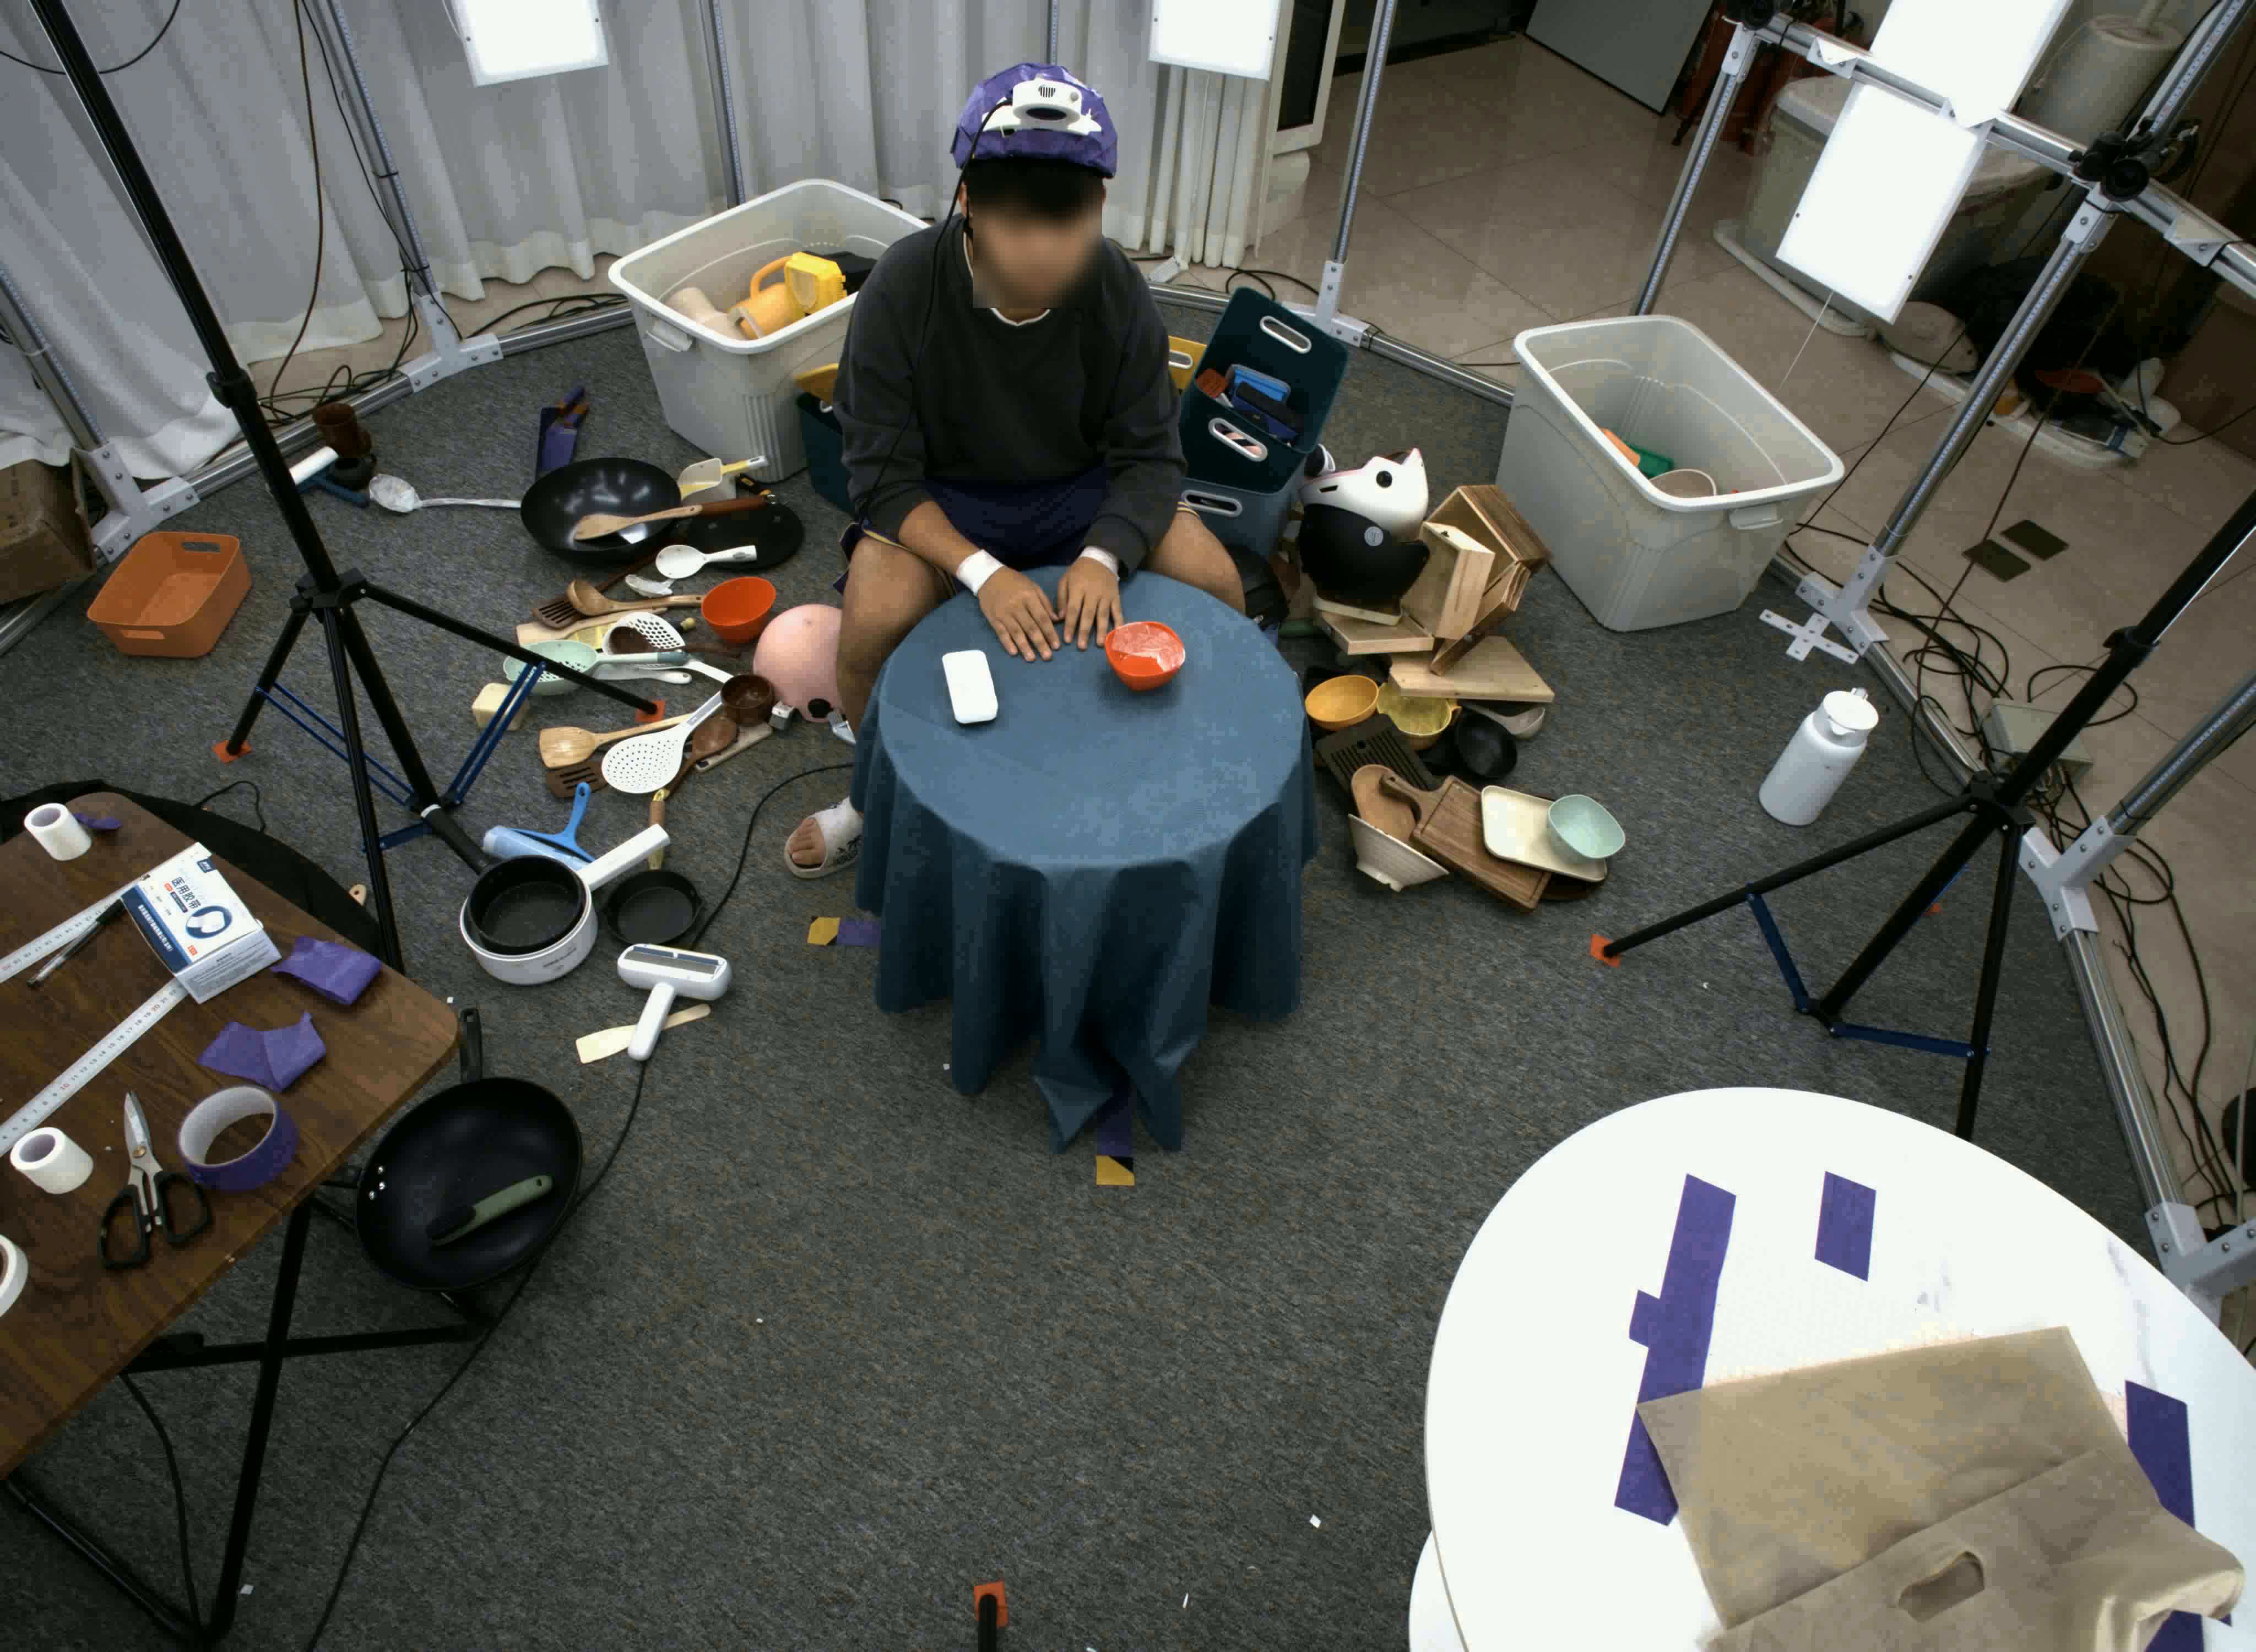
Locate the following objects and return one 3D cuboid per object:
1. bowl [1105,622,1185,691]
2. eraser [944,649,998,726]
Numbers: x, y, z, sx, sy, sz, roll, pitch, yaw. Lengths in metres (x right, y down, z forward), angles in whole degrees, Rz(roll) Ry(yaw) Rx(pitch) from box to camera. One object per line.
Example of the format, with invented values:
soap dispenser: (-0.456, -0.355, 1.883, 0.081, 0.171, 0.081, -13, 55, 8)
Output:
bowl: (0.023, -0.237, 1.841, 0.119, 0.050, 0.122, 1, 49, -2)
eraser: (-0.219, -0.197, 1.801, 0.063, 0.034, 0.134, -6, 51, -11)
